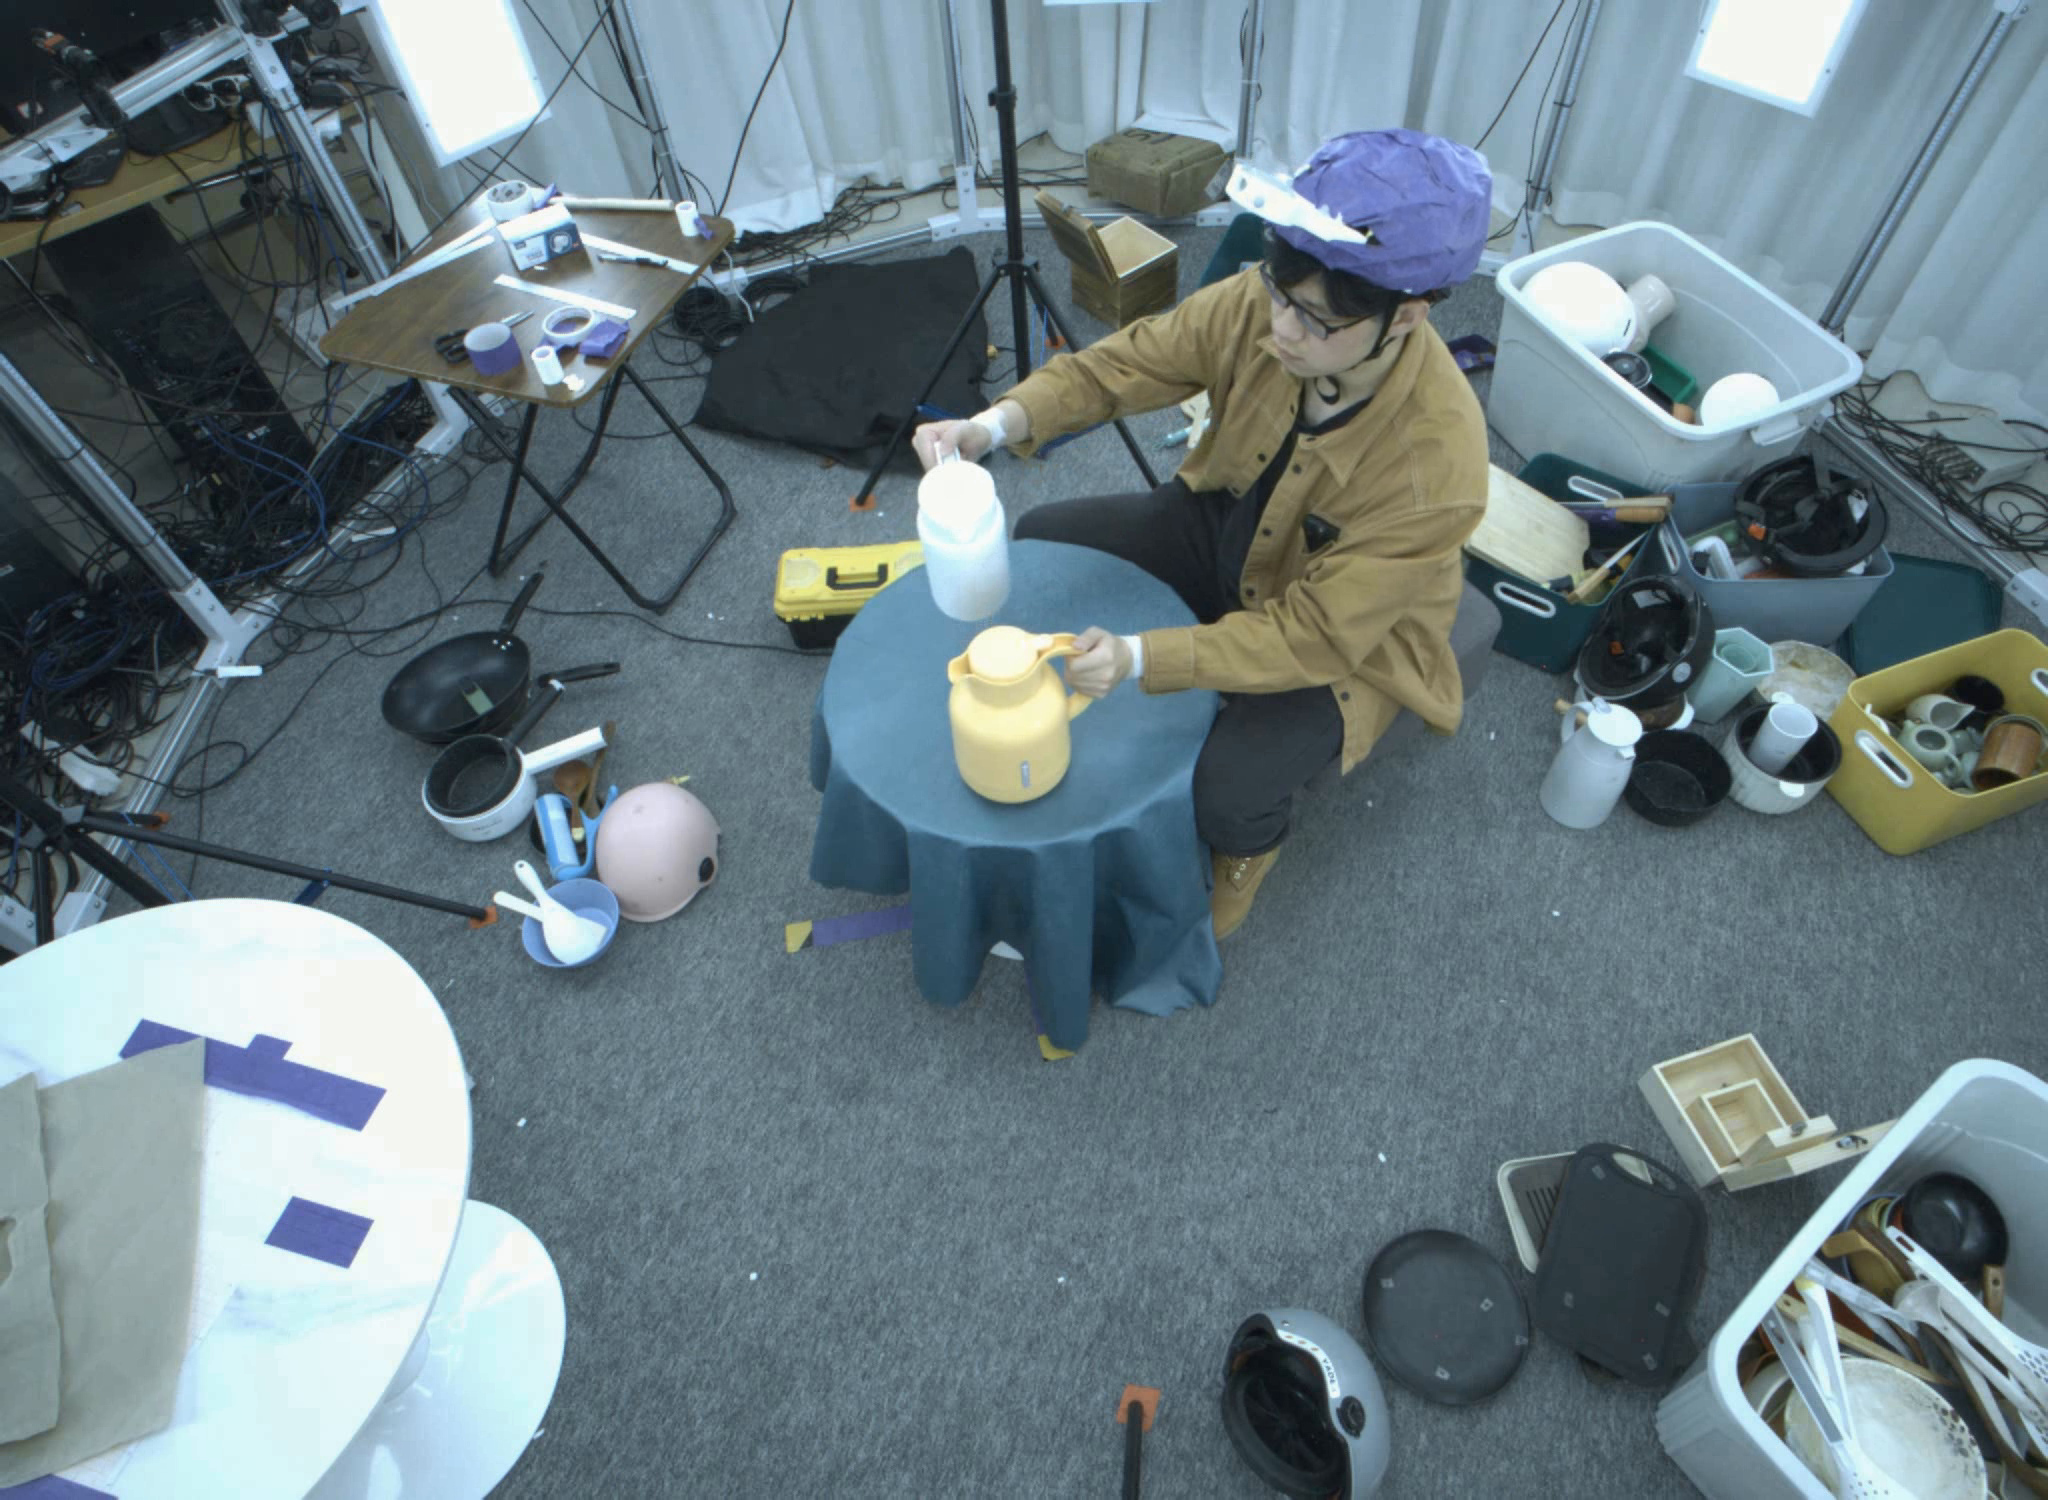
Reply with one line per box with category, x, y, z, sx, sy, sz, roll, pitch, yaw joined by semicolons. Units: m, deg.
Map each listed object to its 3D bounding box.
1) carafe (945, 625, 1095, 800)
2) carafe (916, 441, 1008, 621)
carafe;-0.003;-0.060;1.663;0.203;0.263;0.161;-15;58;-5
carafe;-0.090;-0.299;1.682;0.124;0.271;0.171;-12;70;-1
